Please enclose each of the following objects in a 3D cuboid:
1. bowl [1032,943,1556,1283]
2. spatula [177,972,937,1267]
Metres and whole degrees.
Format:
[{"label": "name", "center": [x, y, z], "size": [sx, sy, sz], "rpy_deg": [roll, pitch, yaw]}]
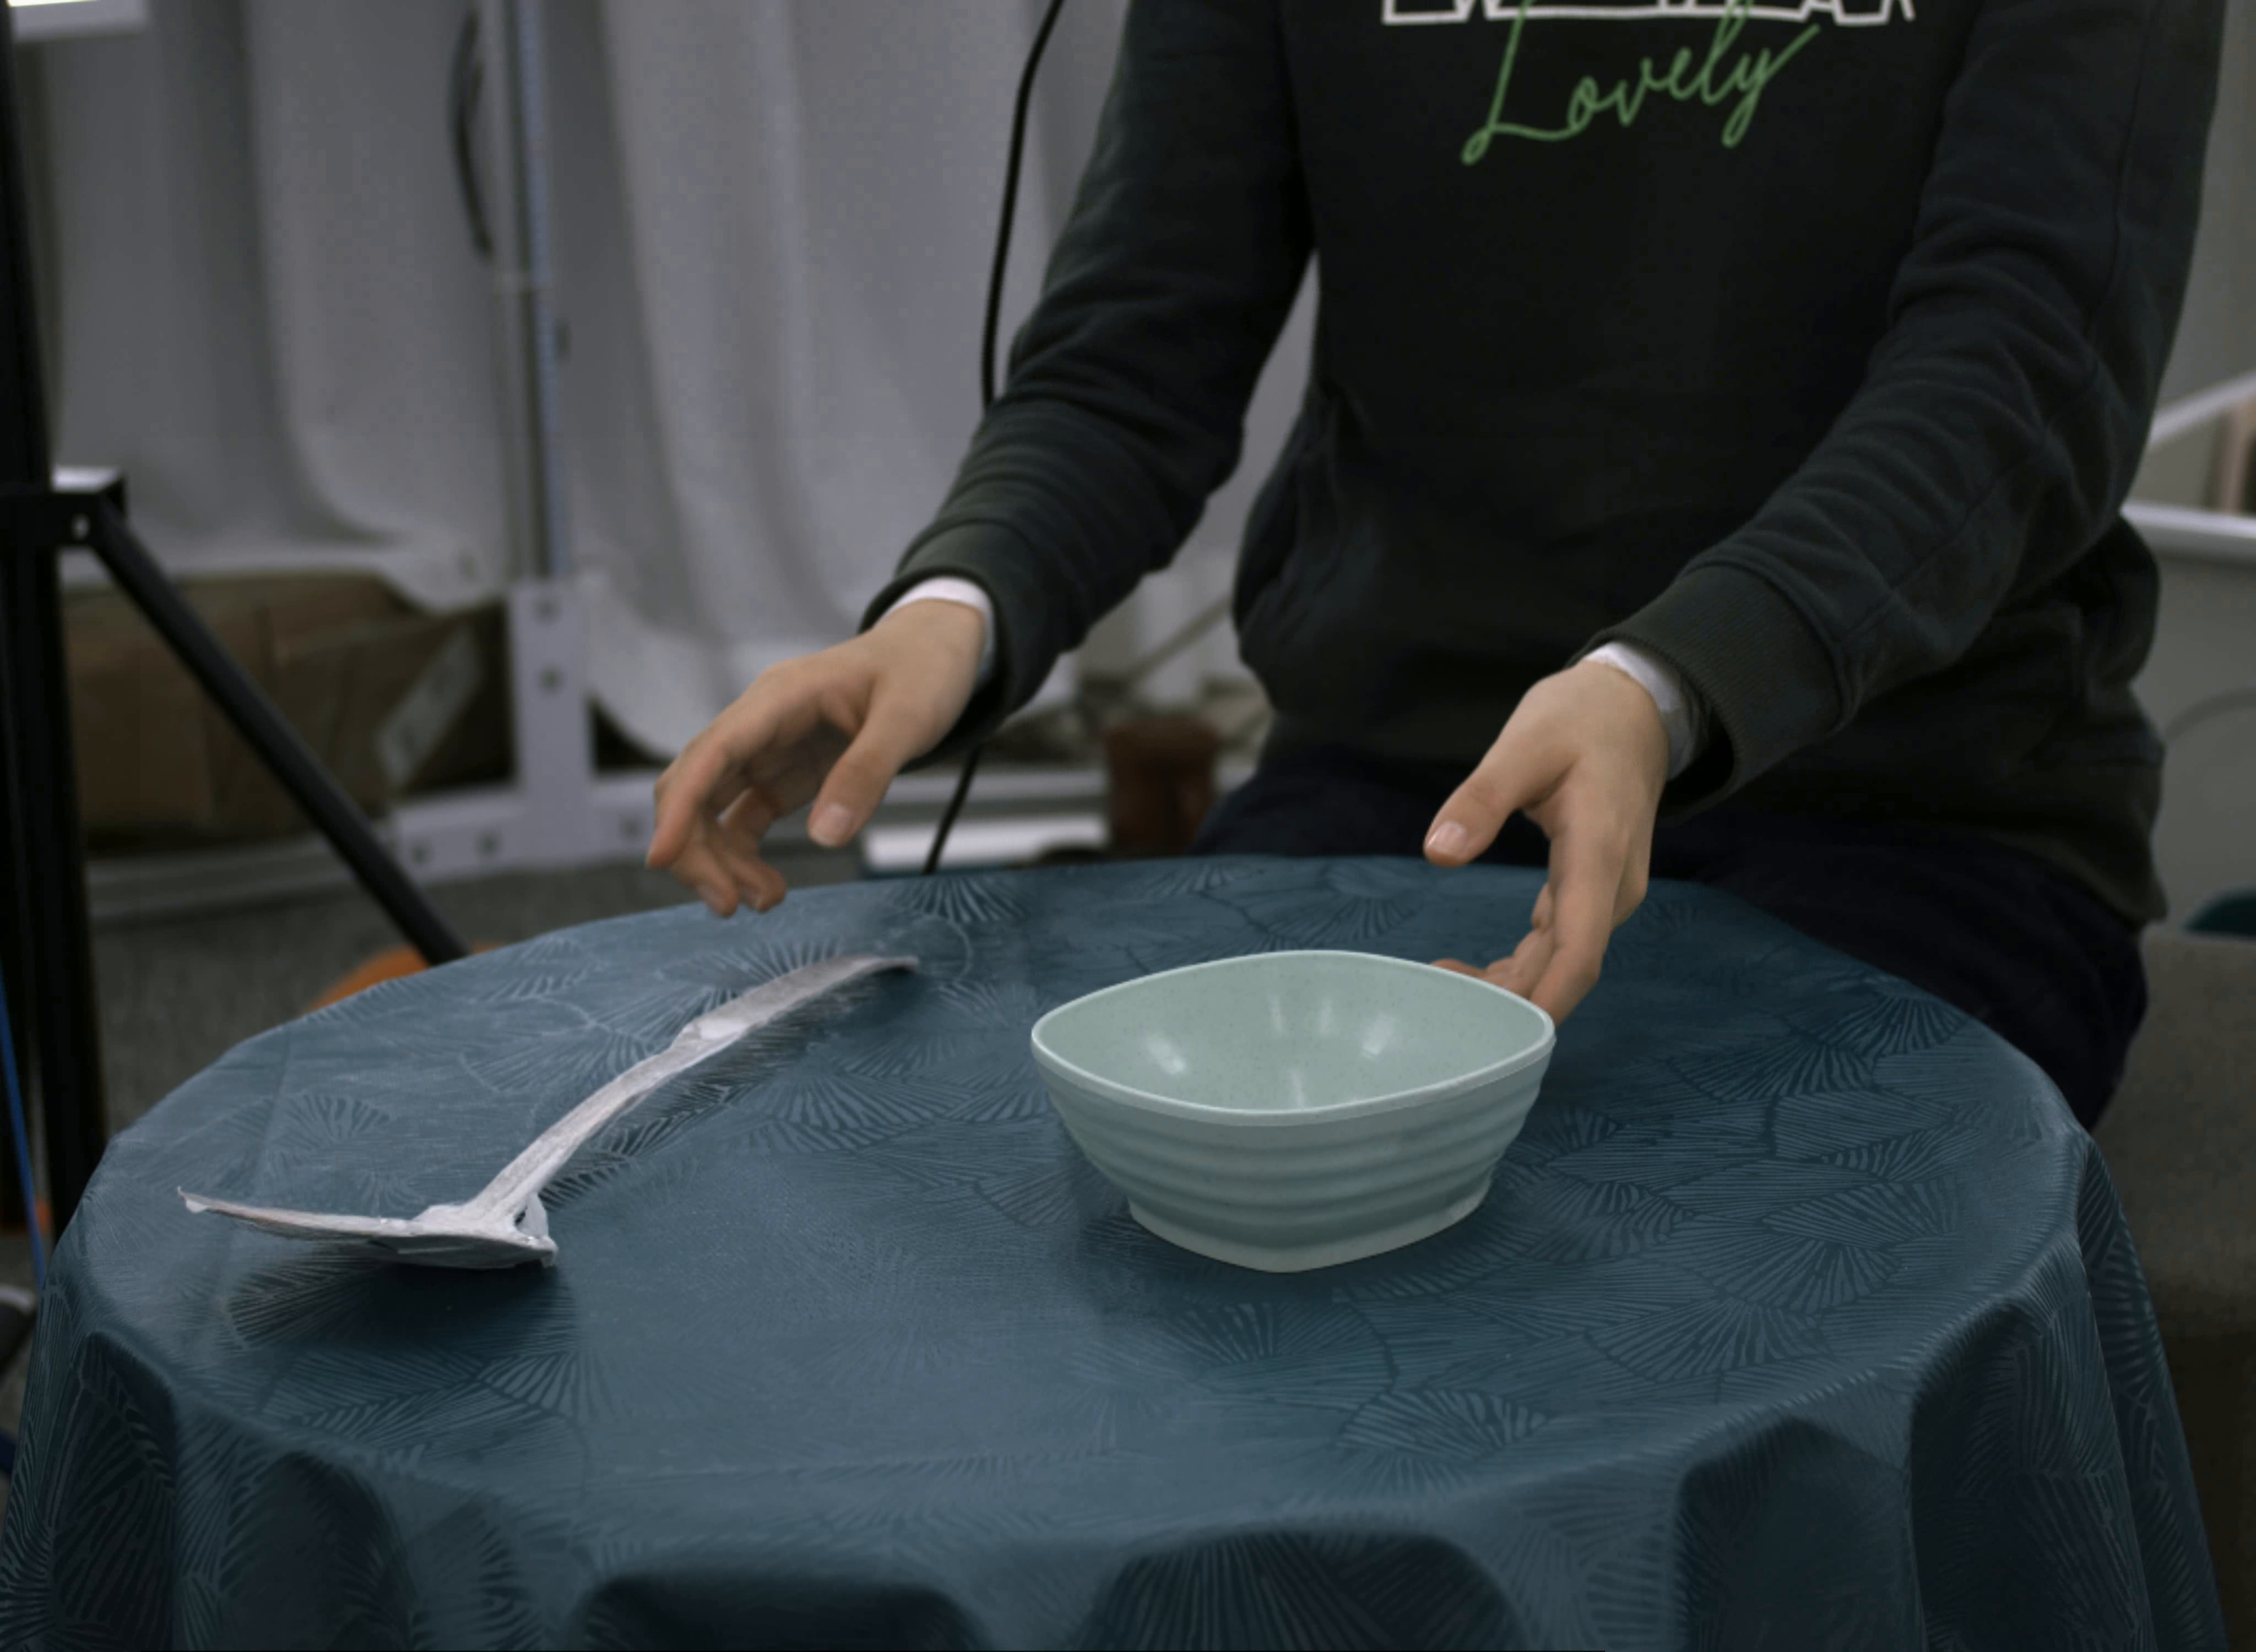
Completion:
[{"label": "bowl", "center": [0.048, 0.086, 1.528], "size": [0.151, 0.058, 0.152], "rpy_deg": [-3, 18, 0]}, {"label": "spatula", "center": [-0.151, 0.079, 1.616], "size": [0.100, 0.045, 0.359], "rpy_deg": [3, 17, 26]}]
